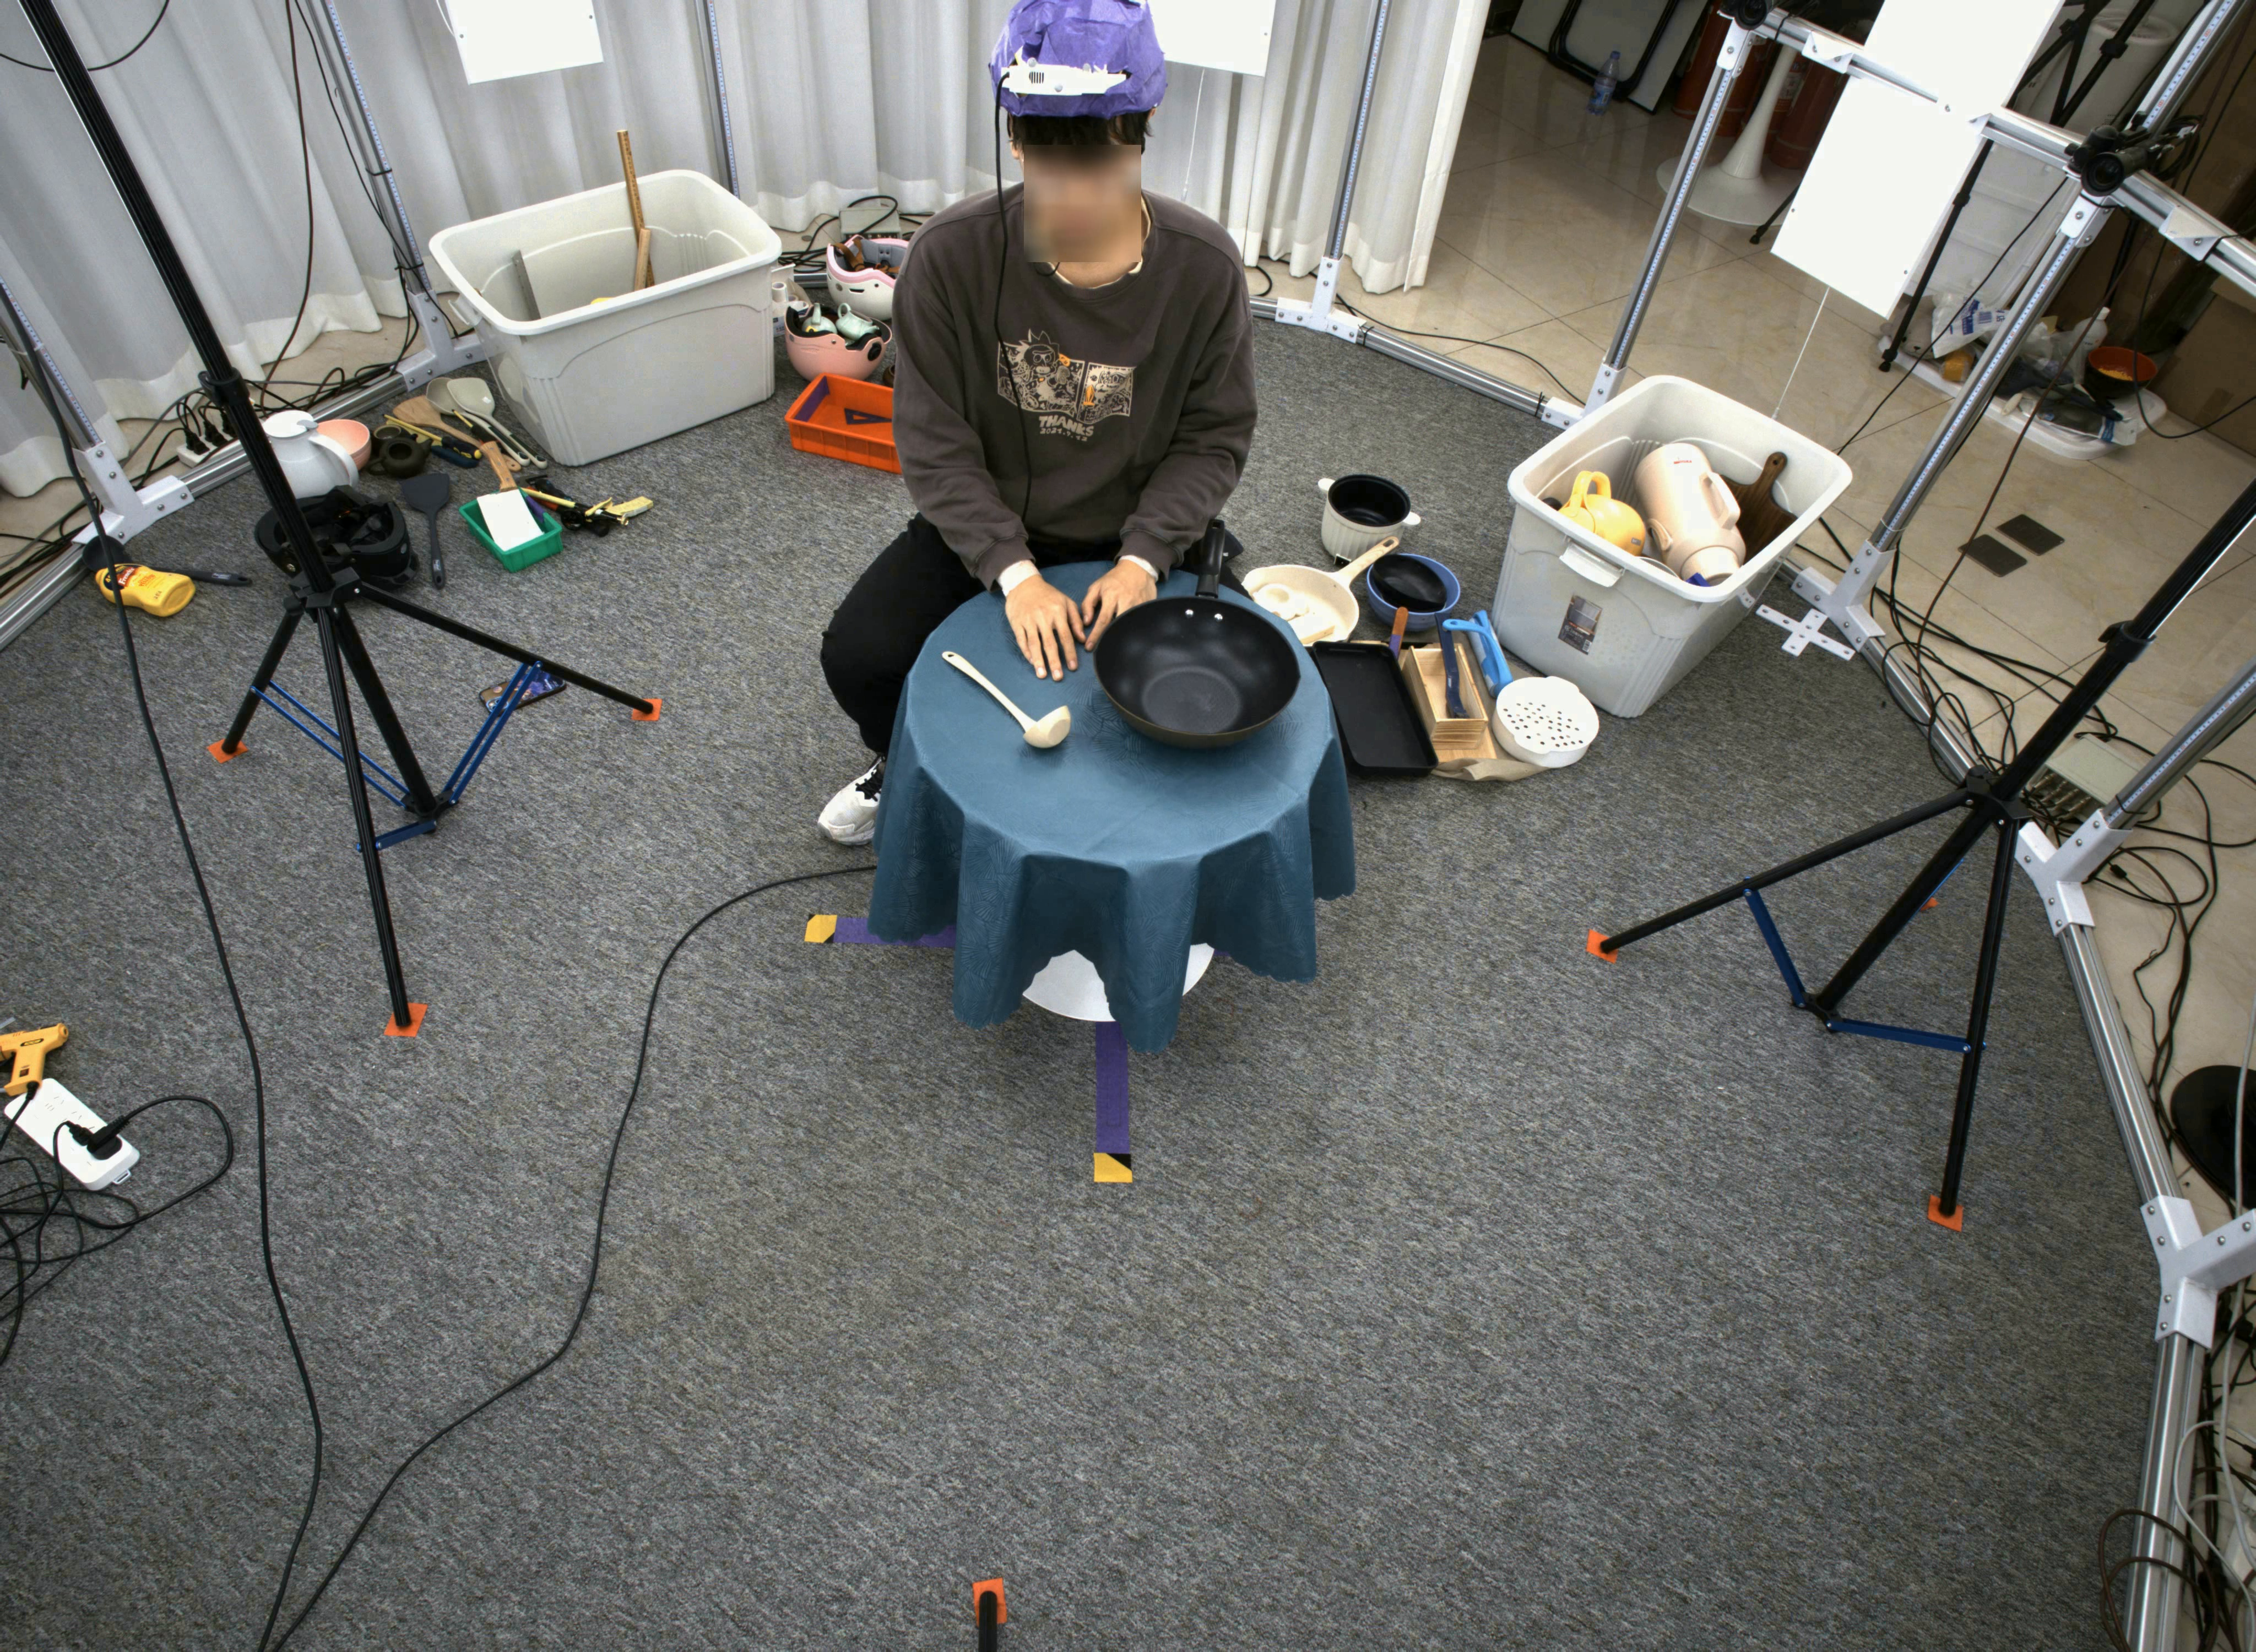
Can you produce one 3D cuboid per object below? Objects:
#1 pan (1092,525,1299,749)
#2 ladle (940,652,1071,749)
[{"bbox_3d":[0.103,-0.269,1.853,0.288,0.085,0.474,8,48,3],"label":"pan"},{"bbox_3d":[-0.179,-0.196,1.778,0.073,0.071,0.258,-35,60,-27],"label":"ladle"}]
